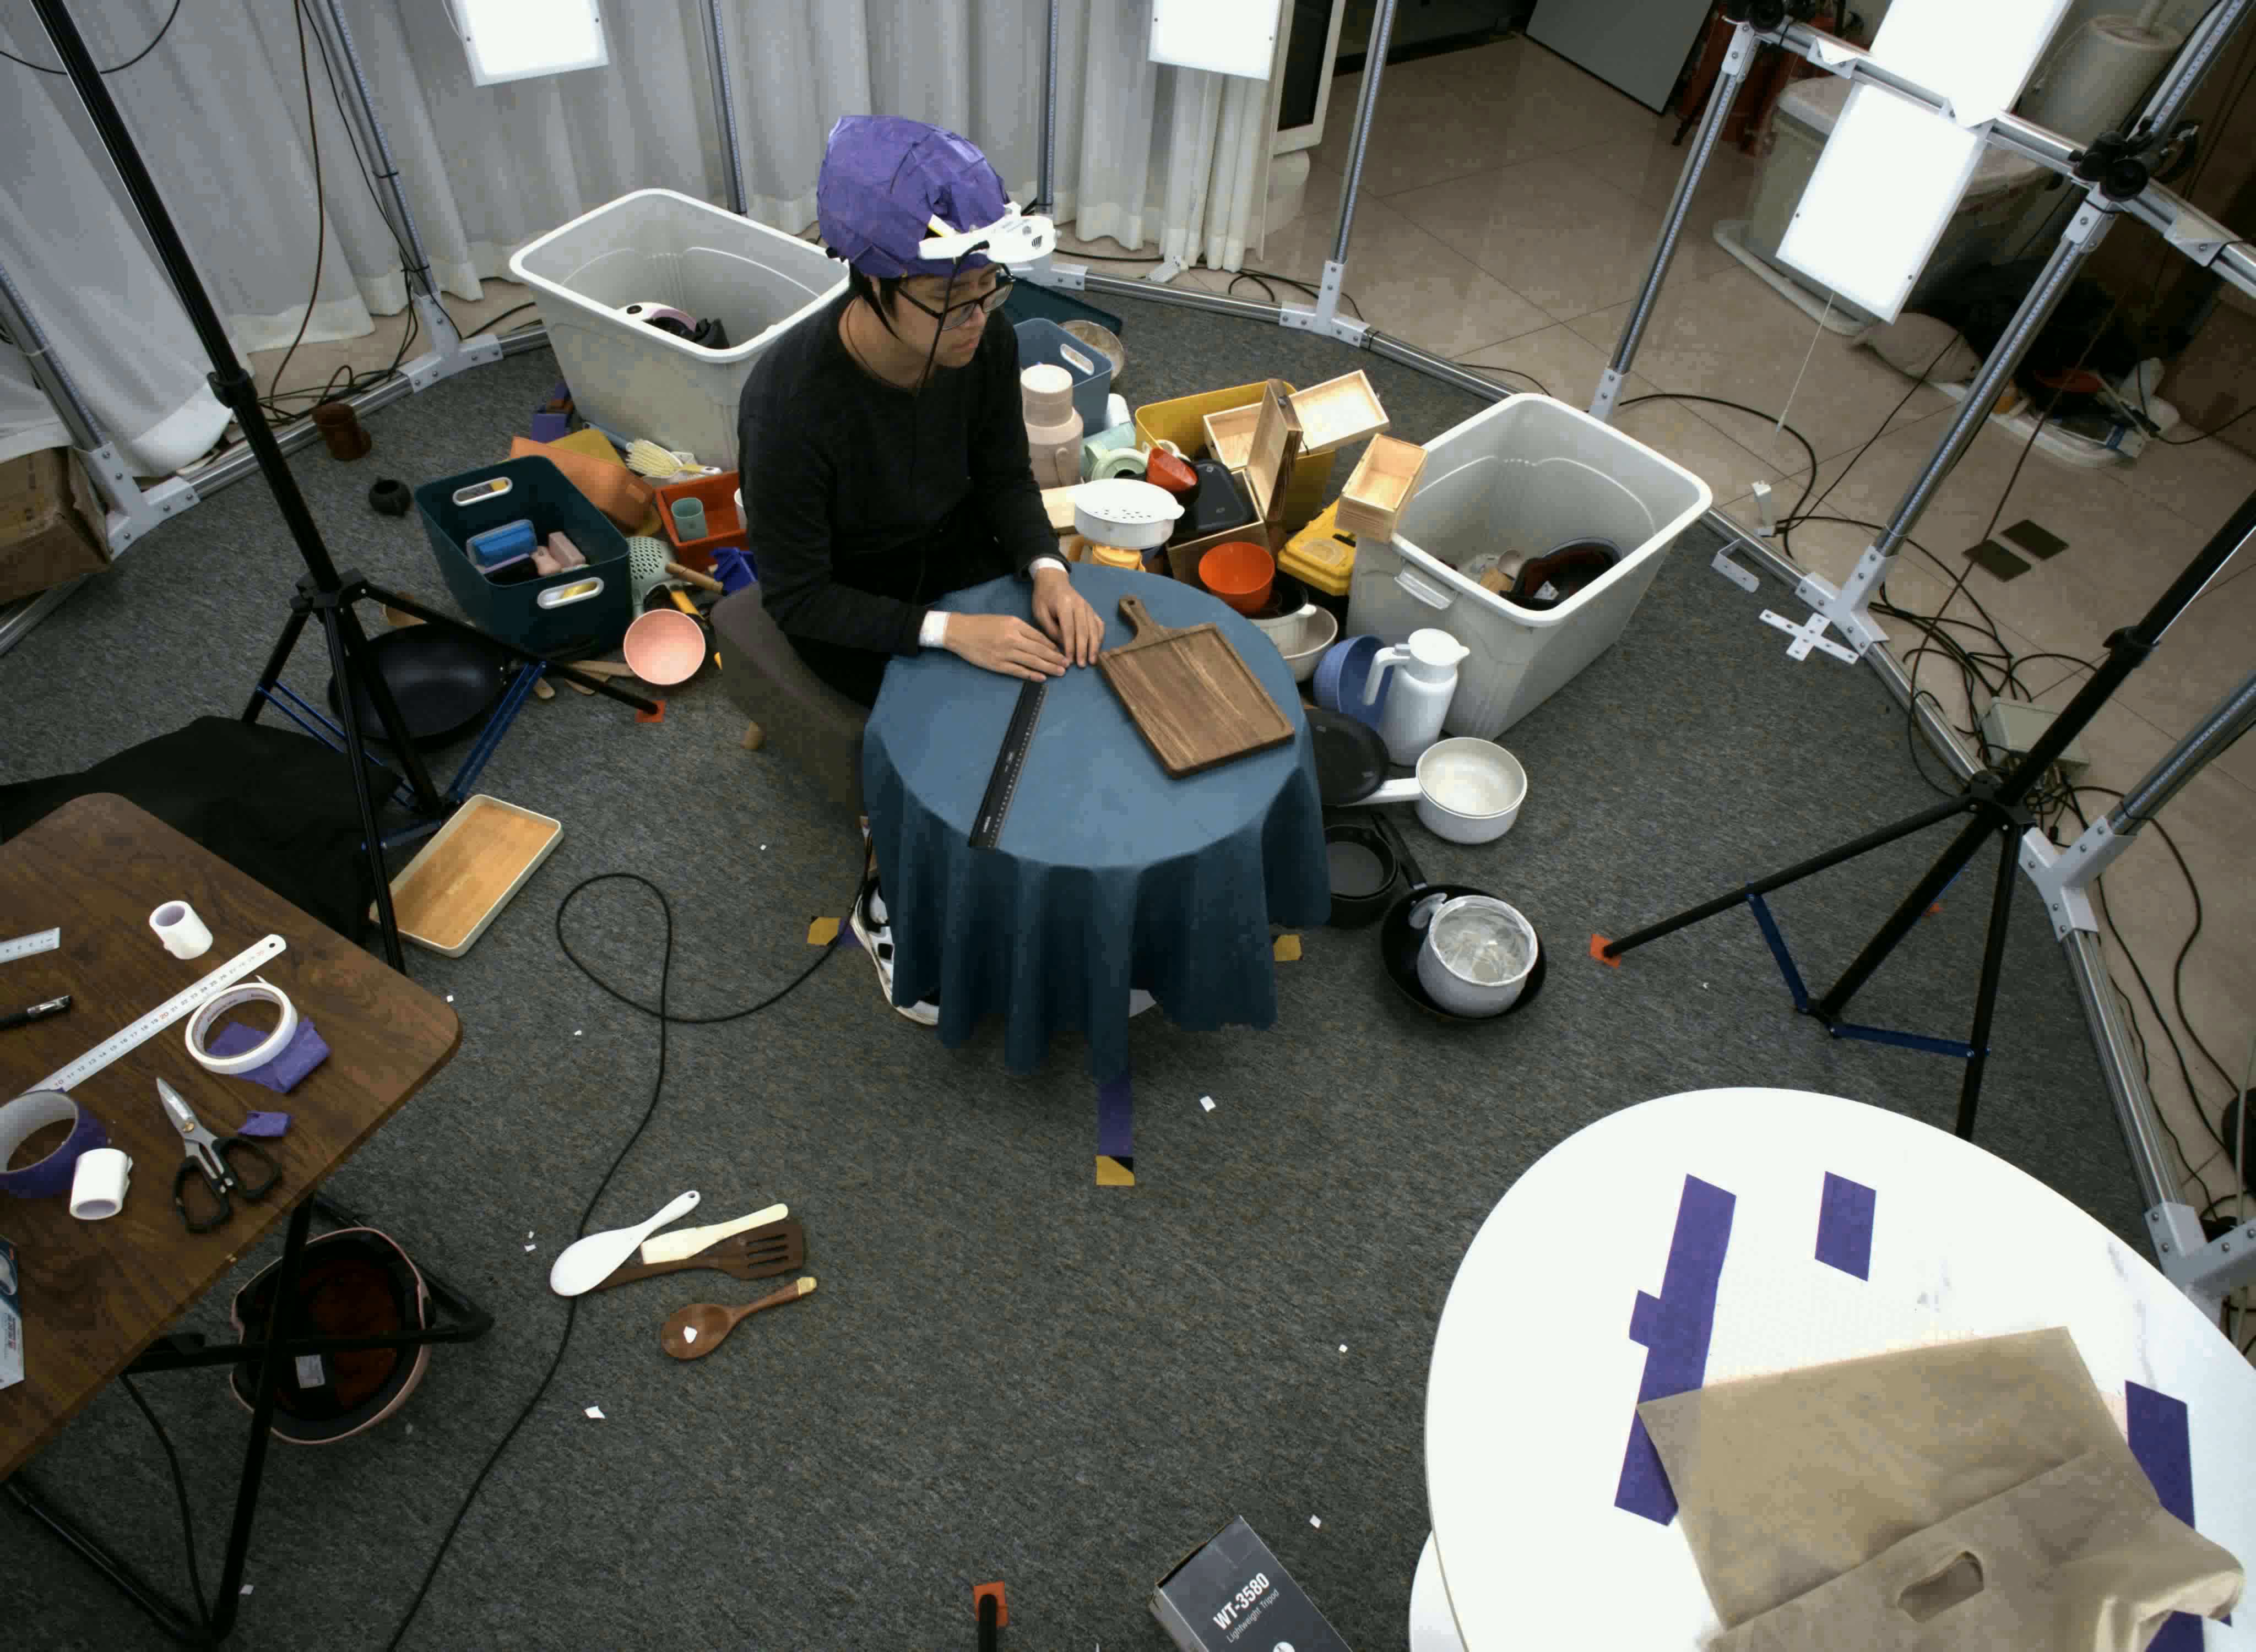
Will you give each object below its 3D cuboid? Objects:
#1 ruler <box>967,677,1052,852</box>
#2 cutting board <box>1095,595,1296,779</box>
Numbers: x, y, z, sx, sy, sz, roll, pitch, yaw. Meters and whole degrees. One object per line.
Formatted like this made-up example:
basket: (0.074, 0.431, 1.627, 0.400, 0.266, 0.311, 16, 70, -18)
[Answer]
ruler: (-0.156, -0.090, 1.728, 0.039, 0.017, 0.320, 12, 49, 3)
cutting board: (0.072, -0.220, 1.852, 0.201, 0.022, 0.360, -18, 52, -19)
